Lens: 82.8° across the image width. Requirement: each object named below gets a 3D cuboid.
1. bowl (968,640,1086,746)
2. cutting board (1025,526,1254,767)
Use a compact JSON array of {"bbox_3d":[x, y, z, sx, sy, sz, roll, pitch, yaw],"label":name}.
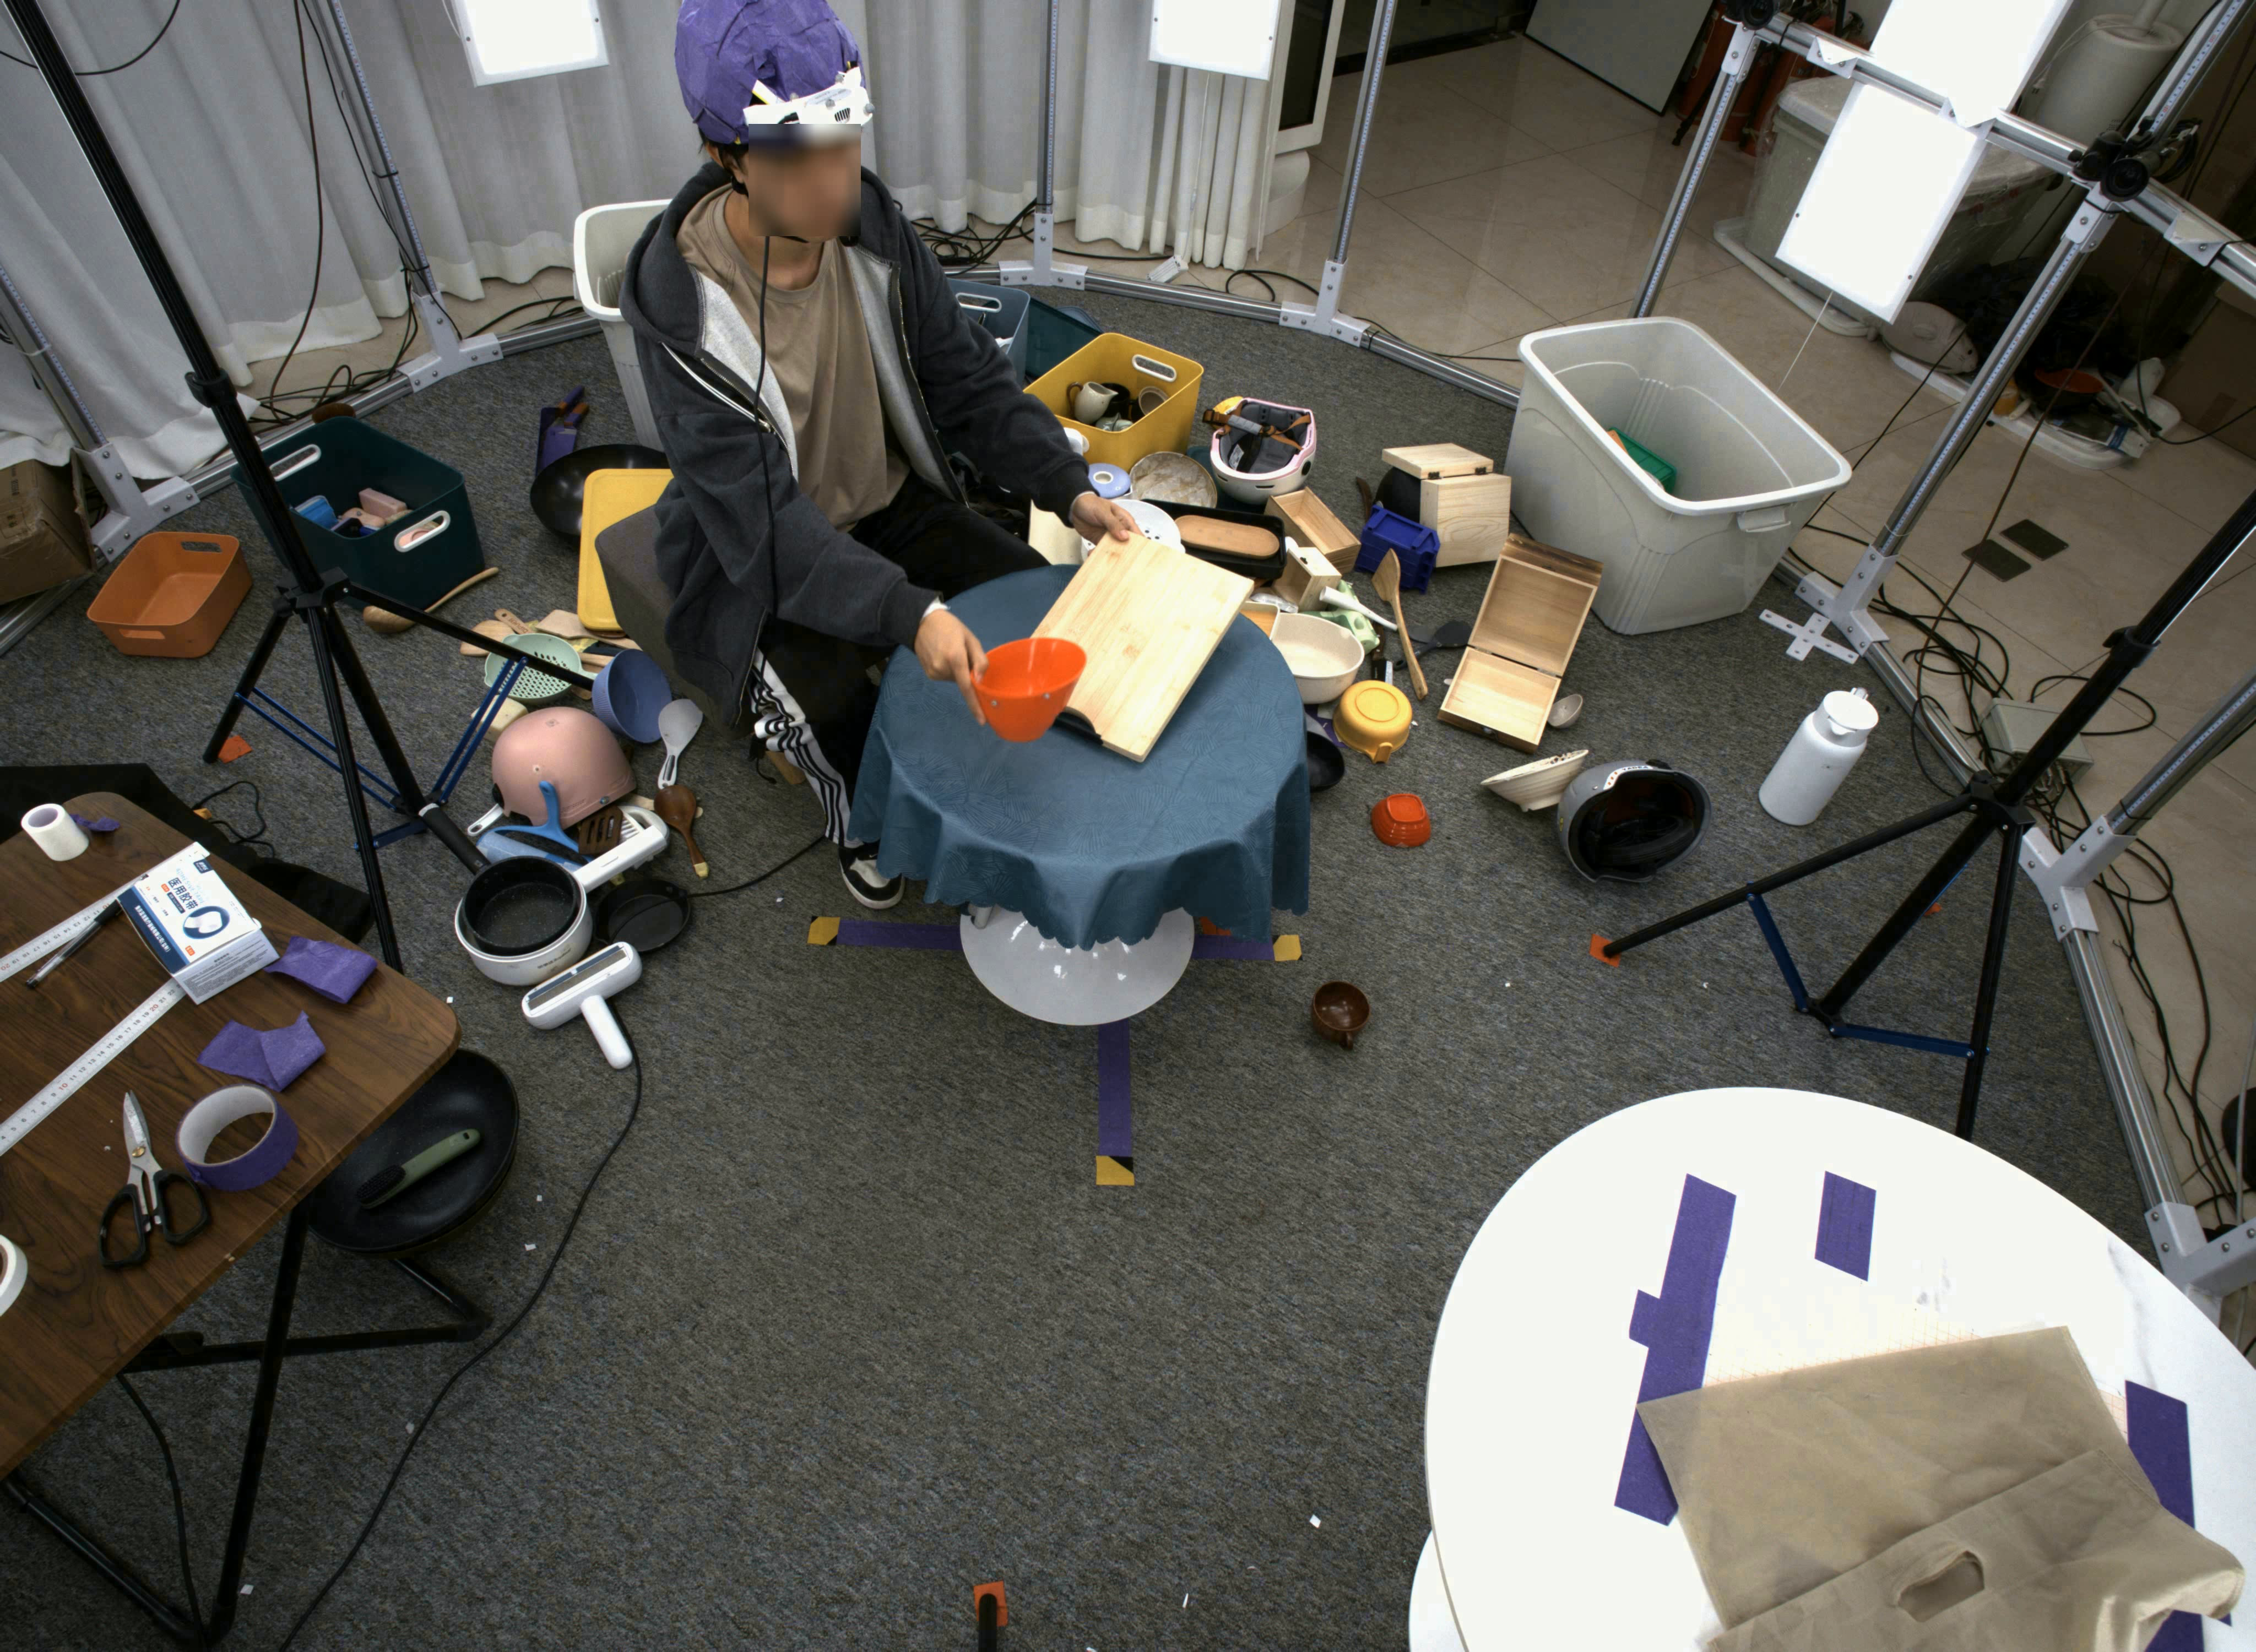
[{"bbox_3d":[-0.129,-0.164,1.643,0.148,0.102,0.151,2,35,-2],"label":"bowl"},{"bbox_3d":[-0.005,-0.265,1.840,0.253,0.023,0.354,24,64,17],"label":"cutting board"}]
